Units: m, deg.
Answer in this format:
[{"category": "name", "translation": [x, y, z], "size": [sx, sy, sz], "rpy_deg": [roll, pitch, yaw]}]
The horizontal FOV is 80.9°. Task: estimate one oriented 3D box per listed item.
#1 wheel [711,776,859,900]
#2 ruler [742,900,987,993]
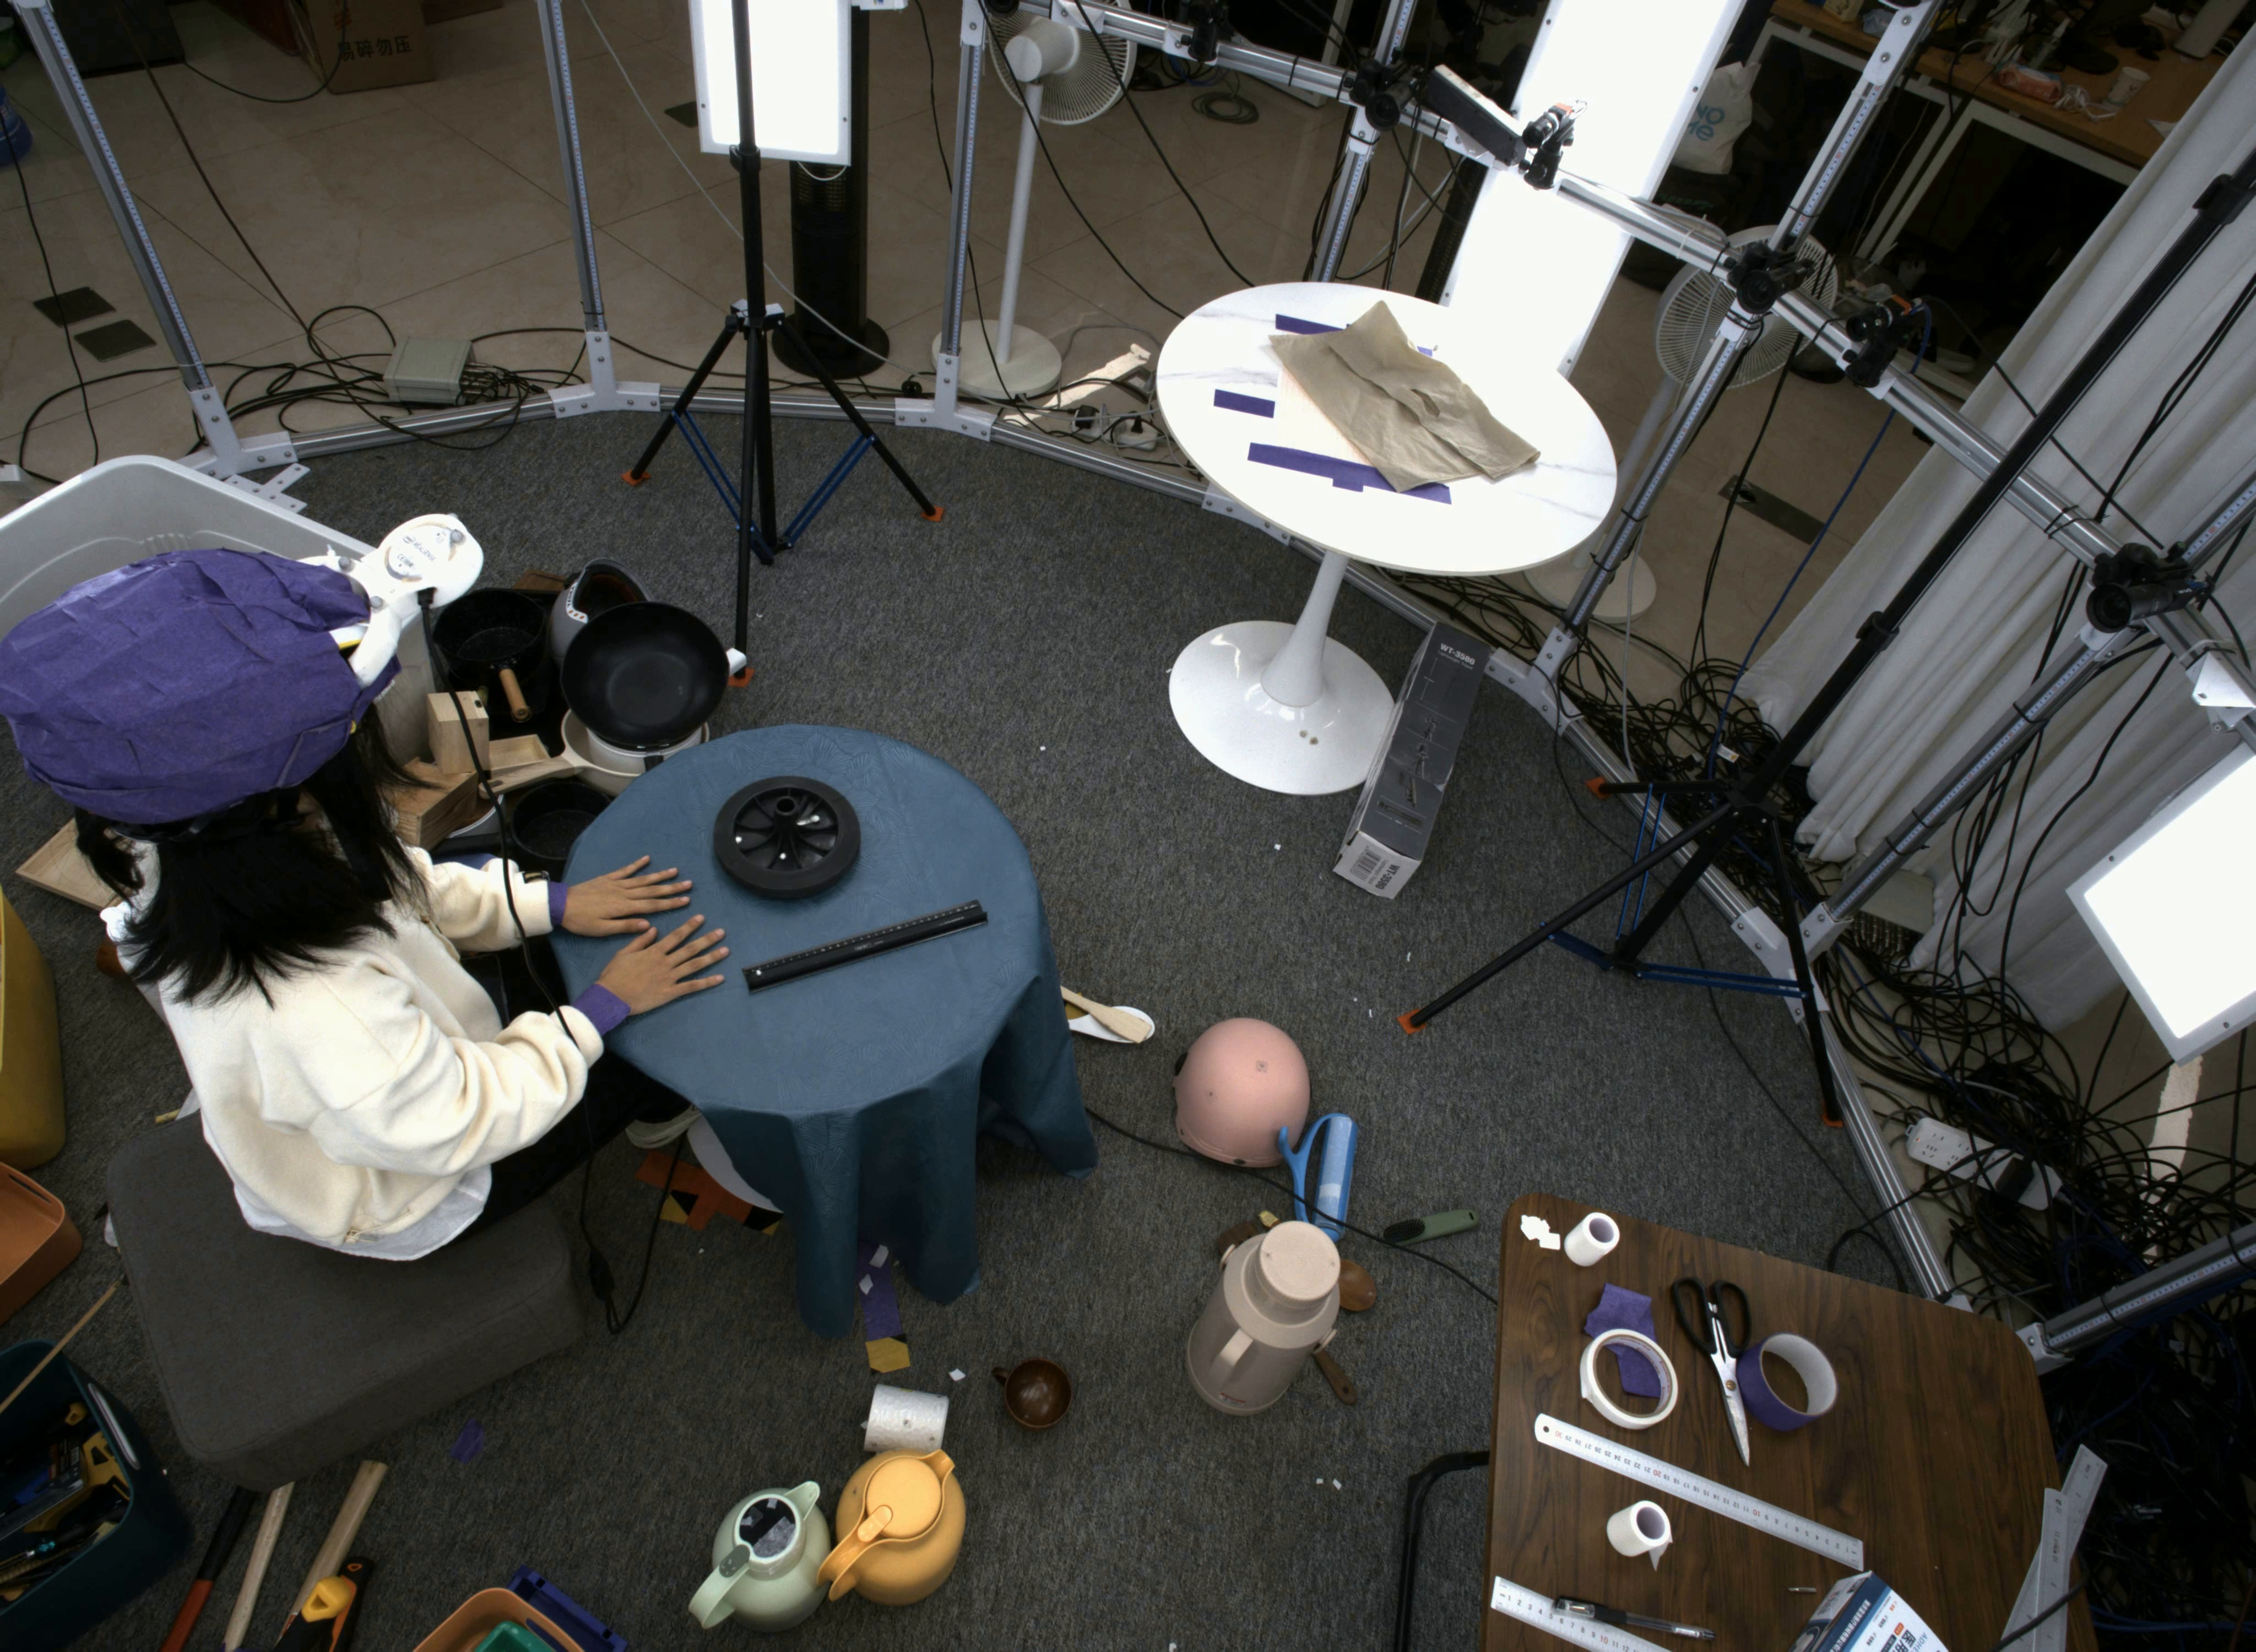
[{"category": "wheel", "translation": [-0.442, -0.002, 1.666], "size": [0.188, 0.081, 0.185], "rpy_deg": [-1, 54, -15]}, {"category": "ruler", "translation": [-0.326, 0.142, 1.628], "size": [0.314, 0.017, 0.038], "rpy_deg": [-16, 55, -24]}]
